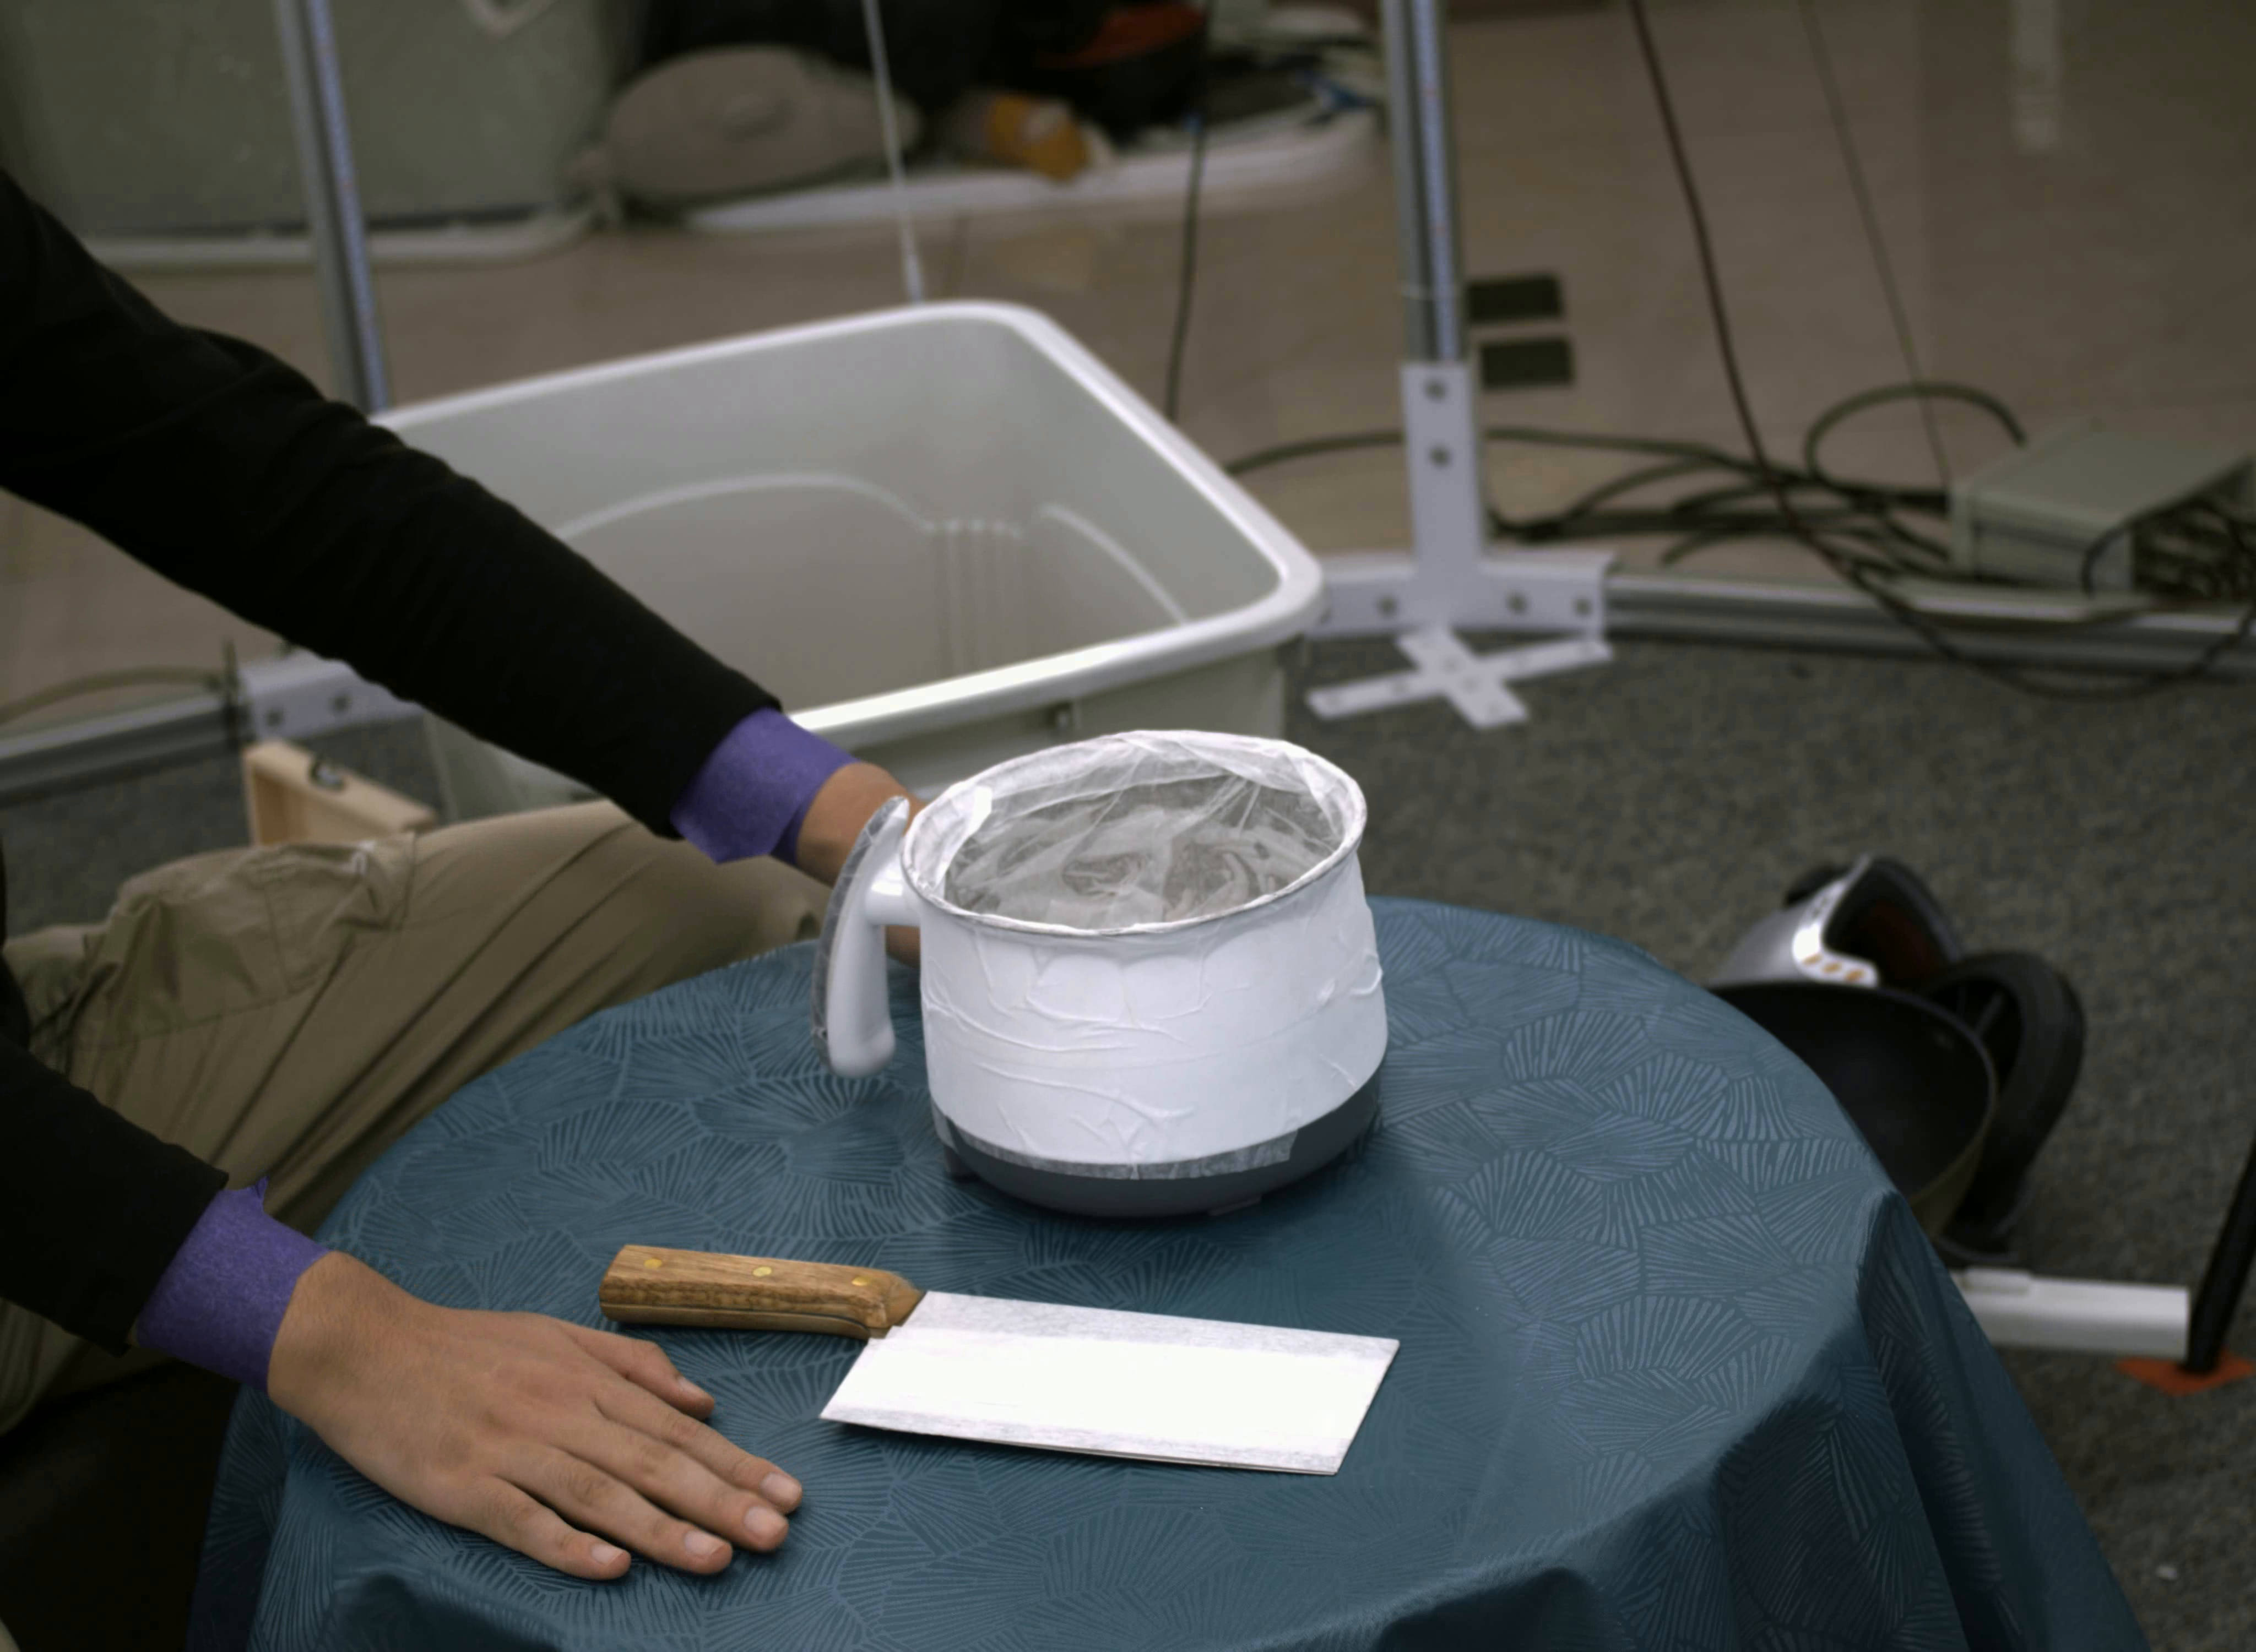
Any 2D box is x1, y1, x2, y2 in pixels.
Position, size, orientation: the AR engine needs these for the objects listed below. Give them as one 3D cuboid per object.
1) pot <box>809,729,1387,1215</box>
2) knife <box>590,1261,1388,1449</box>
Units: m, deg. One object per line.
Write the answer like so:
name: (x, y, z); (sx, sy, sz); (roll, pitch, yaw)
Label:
pot: (-0.017, 0.055, 2.166); (0.233, 0.139, 0.176); (5, 27, 22)
knife: (-0.060, 0.192, 2.035); (0.305, 0.021, 0.091); (4, 26, 18)
